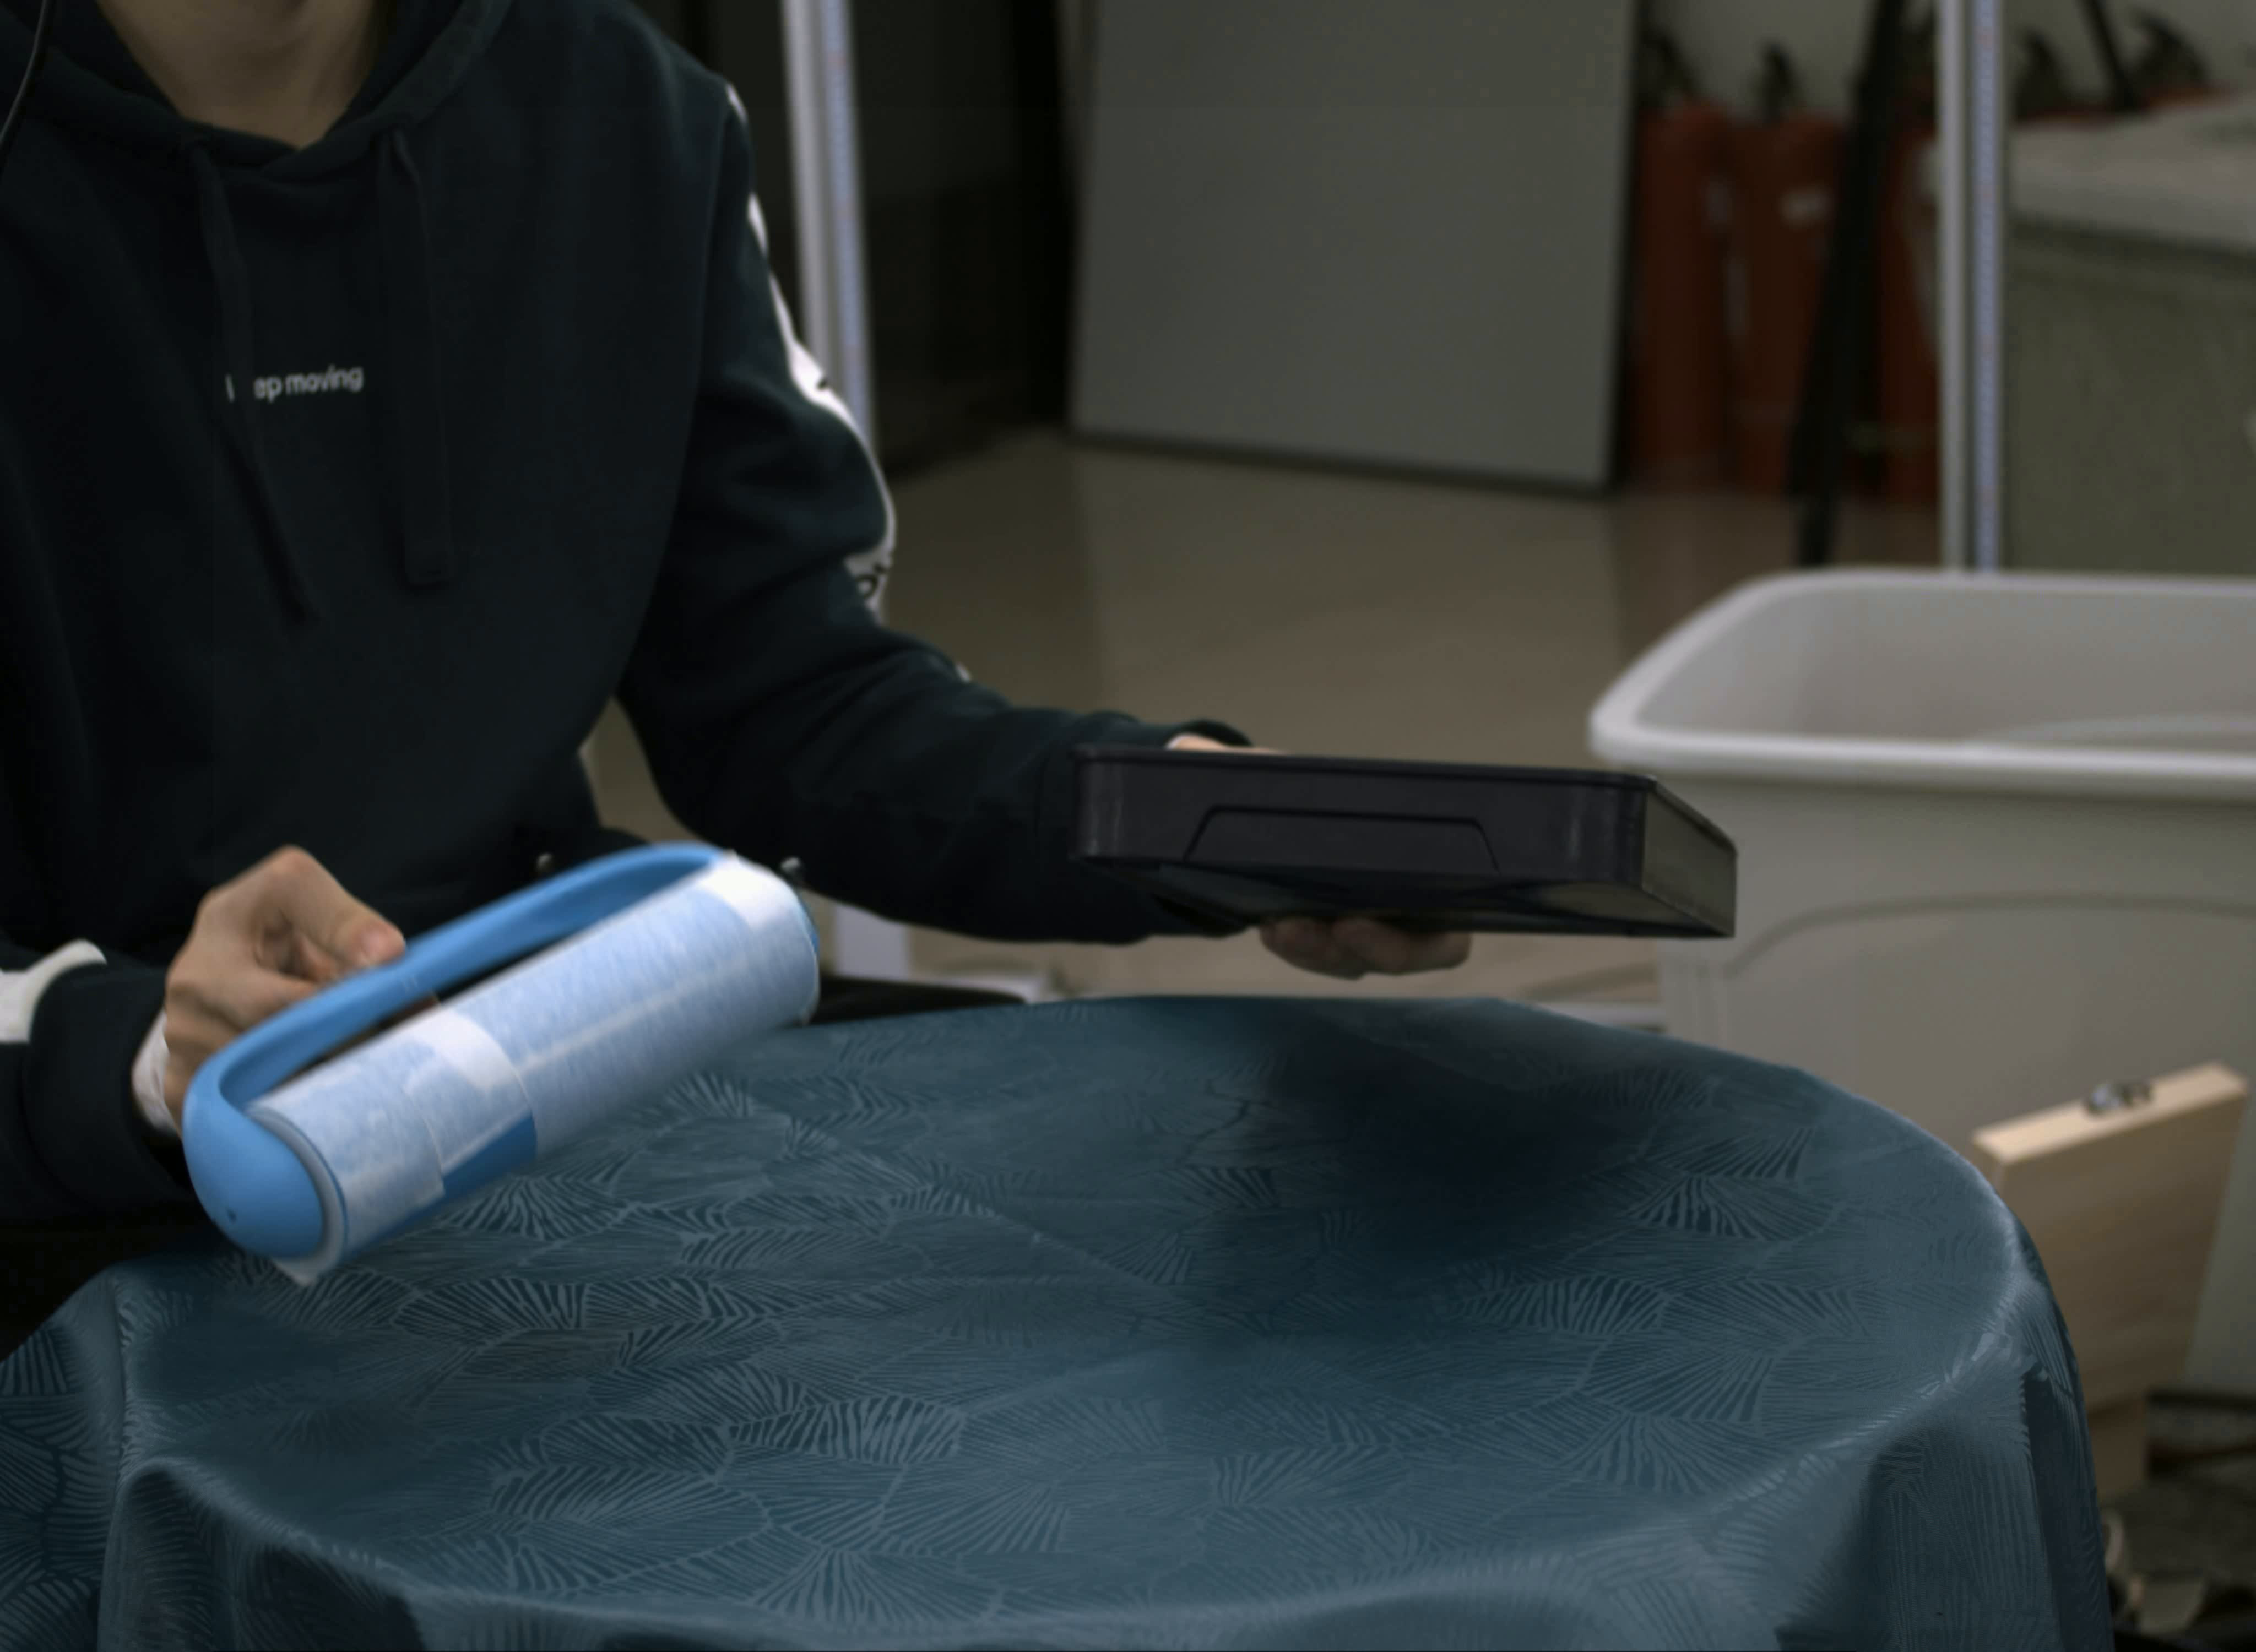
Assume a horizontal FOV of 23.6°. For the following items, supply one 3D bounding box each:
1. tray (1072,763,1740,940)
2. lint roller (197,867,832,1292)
[{"bbox_3d":[0.098,0.011,1.761,0.183,0.037,0.315,1,-4,12],"label":"tray"},{"bbox_3d":[-0.215,0.077,1.630,0.182,0.068,0.225,-5,18,44],"label":"lint roller"}]
